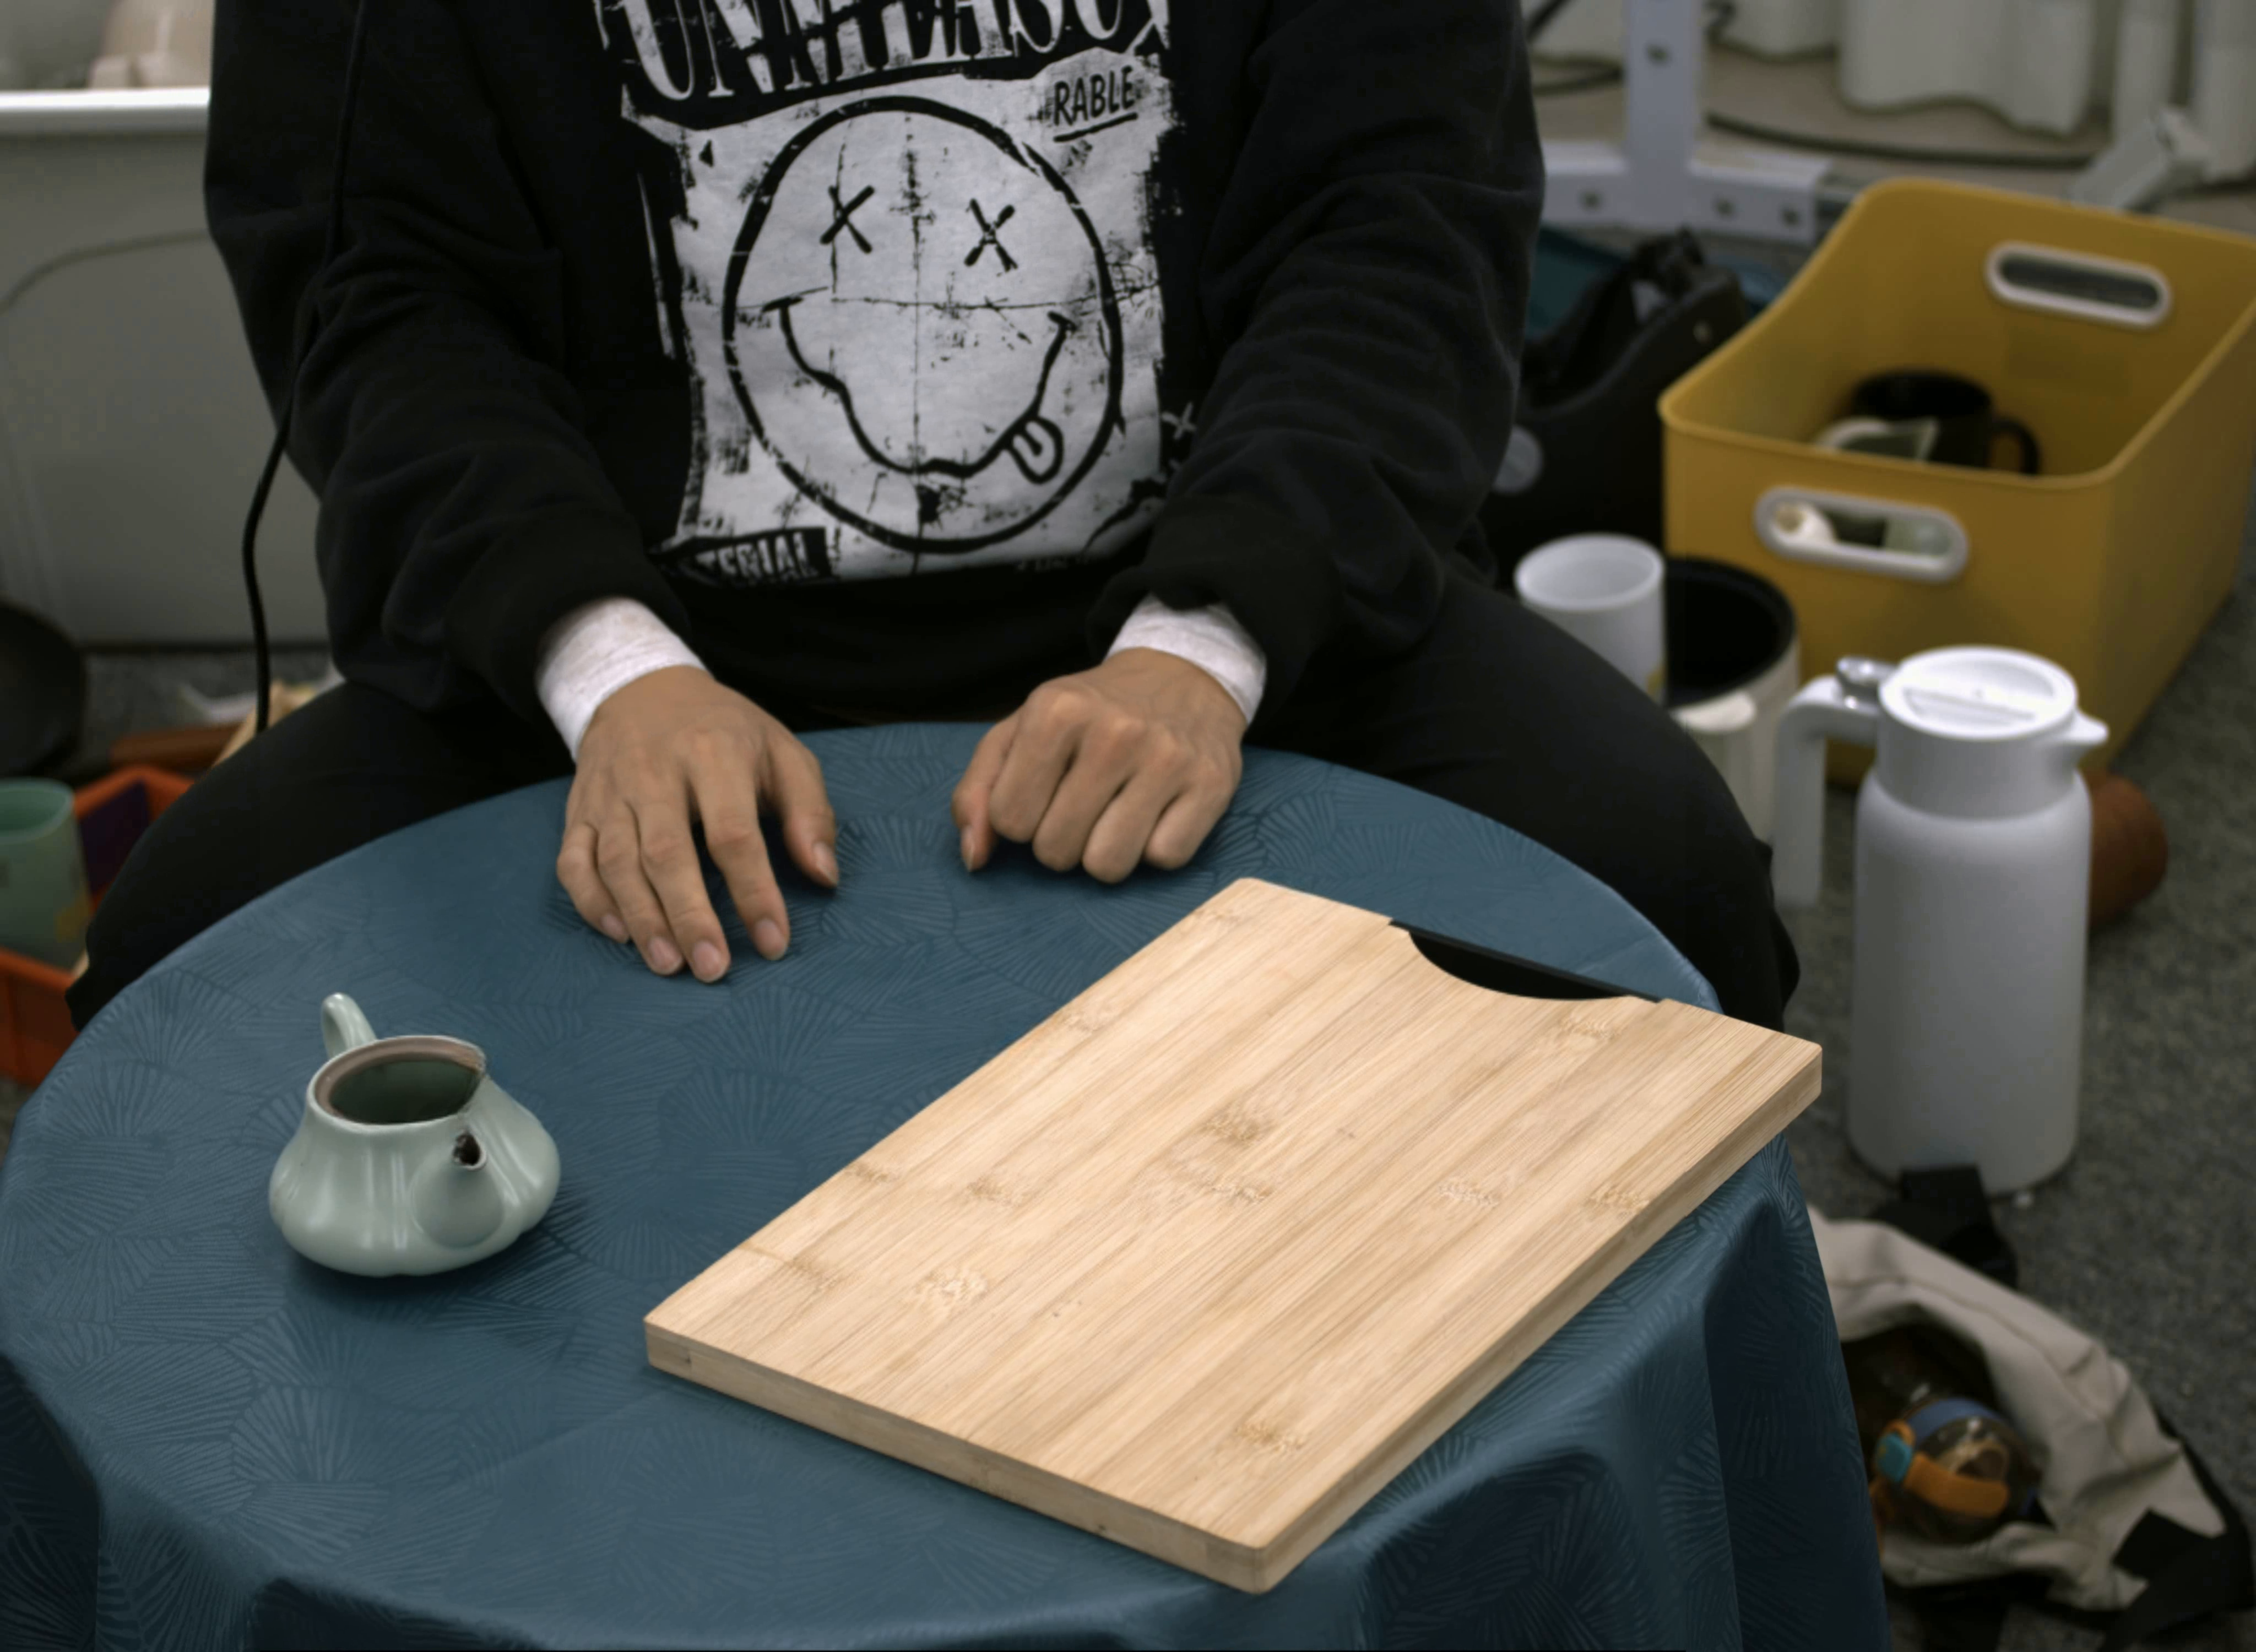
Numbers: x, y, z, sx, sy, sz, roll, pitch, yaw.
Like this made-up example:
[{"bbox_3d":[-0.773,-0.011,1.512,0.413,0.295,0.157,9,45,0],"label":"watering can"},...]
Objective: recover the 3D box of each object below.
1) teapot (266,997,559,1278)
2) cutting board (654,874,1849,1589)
[{"bbox_3d":[-0.239,0.105,1.849,0.097,0.061,0.137,-19,31,-25],"label":"teapot"},{"bbox_3d":[0.044,0.122,1.837,0.249,0.023,0.354,15,32,31],"label":"cutting board"}]
